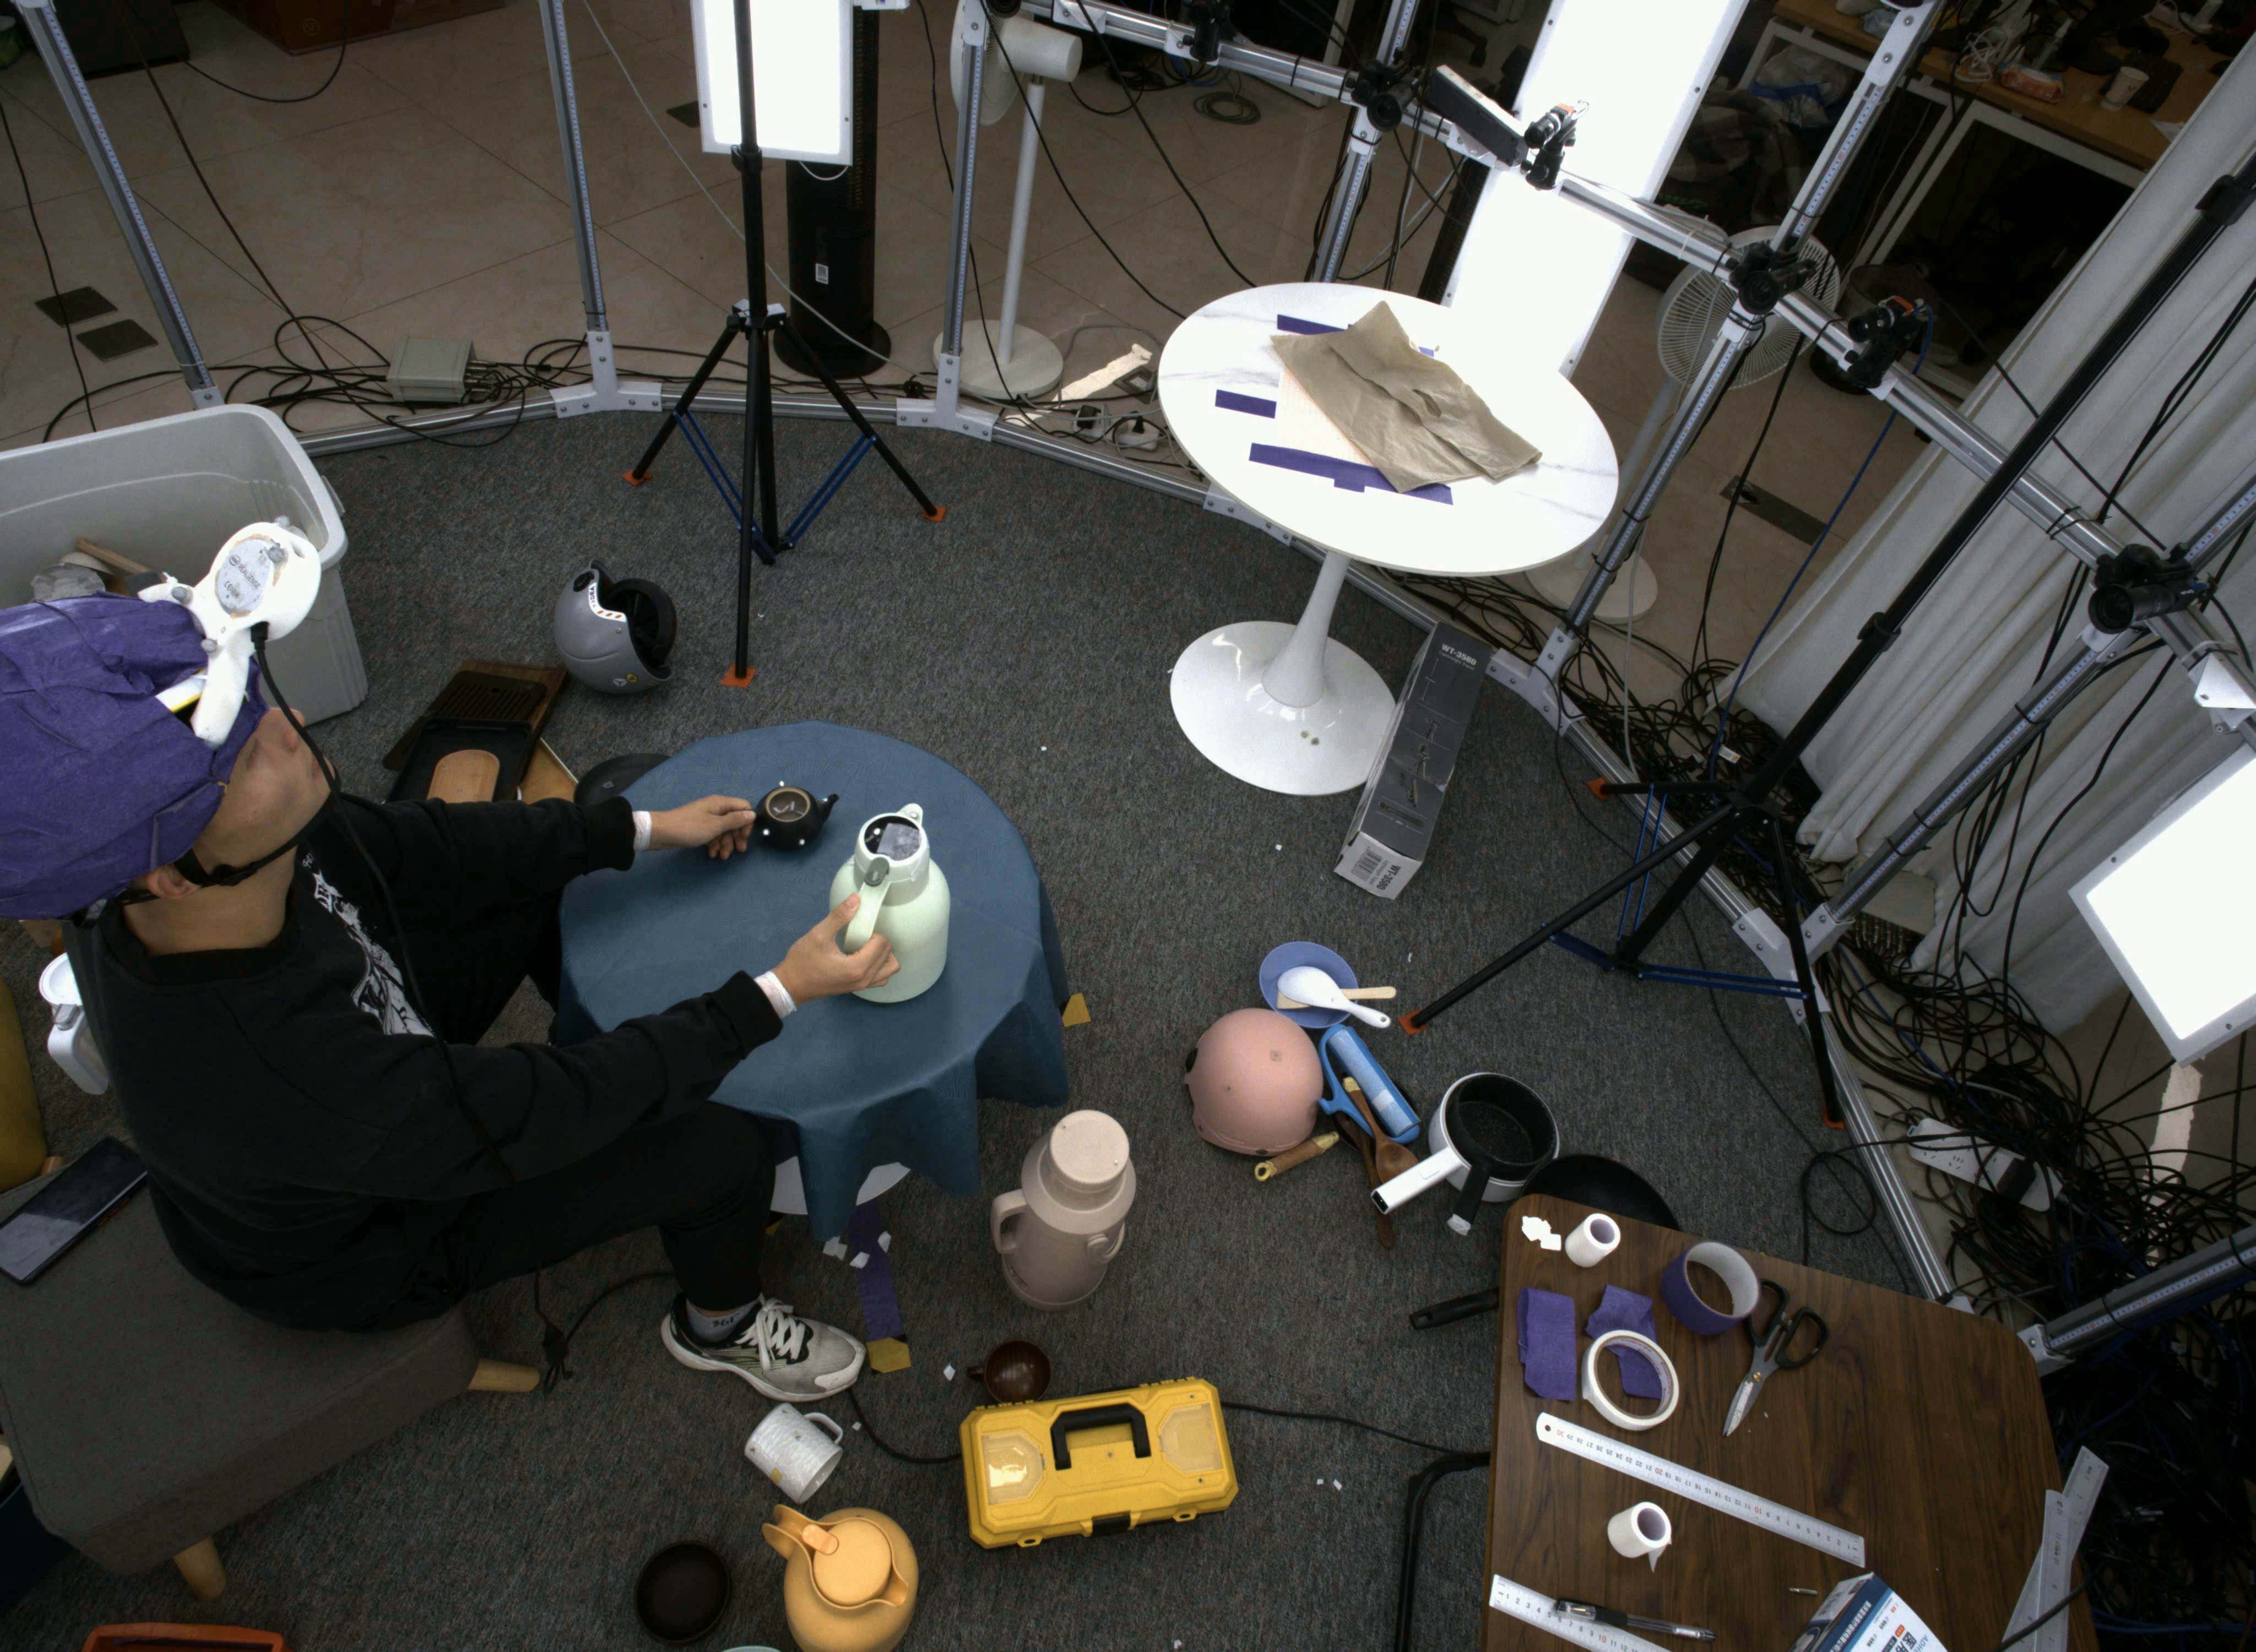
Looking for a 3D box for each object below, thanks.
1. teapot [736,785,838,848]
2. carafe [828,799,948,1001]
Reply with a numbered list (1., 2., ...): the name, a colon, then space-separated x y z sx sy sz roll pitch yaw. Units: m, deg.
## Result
1. teapot: -0.445 -0.014 1.691 0.134 0.054 0.088 -11 55 -23
2. carafe: -0.286 0.096 1.524 0.143 0.261 0.185 17 55 0
